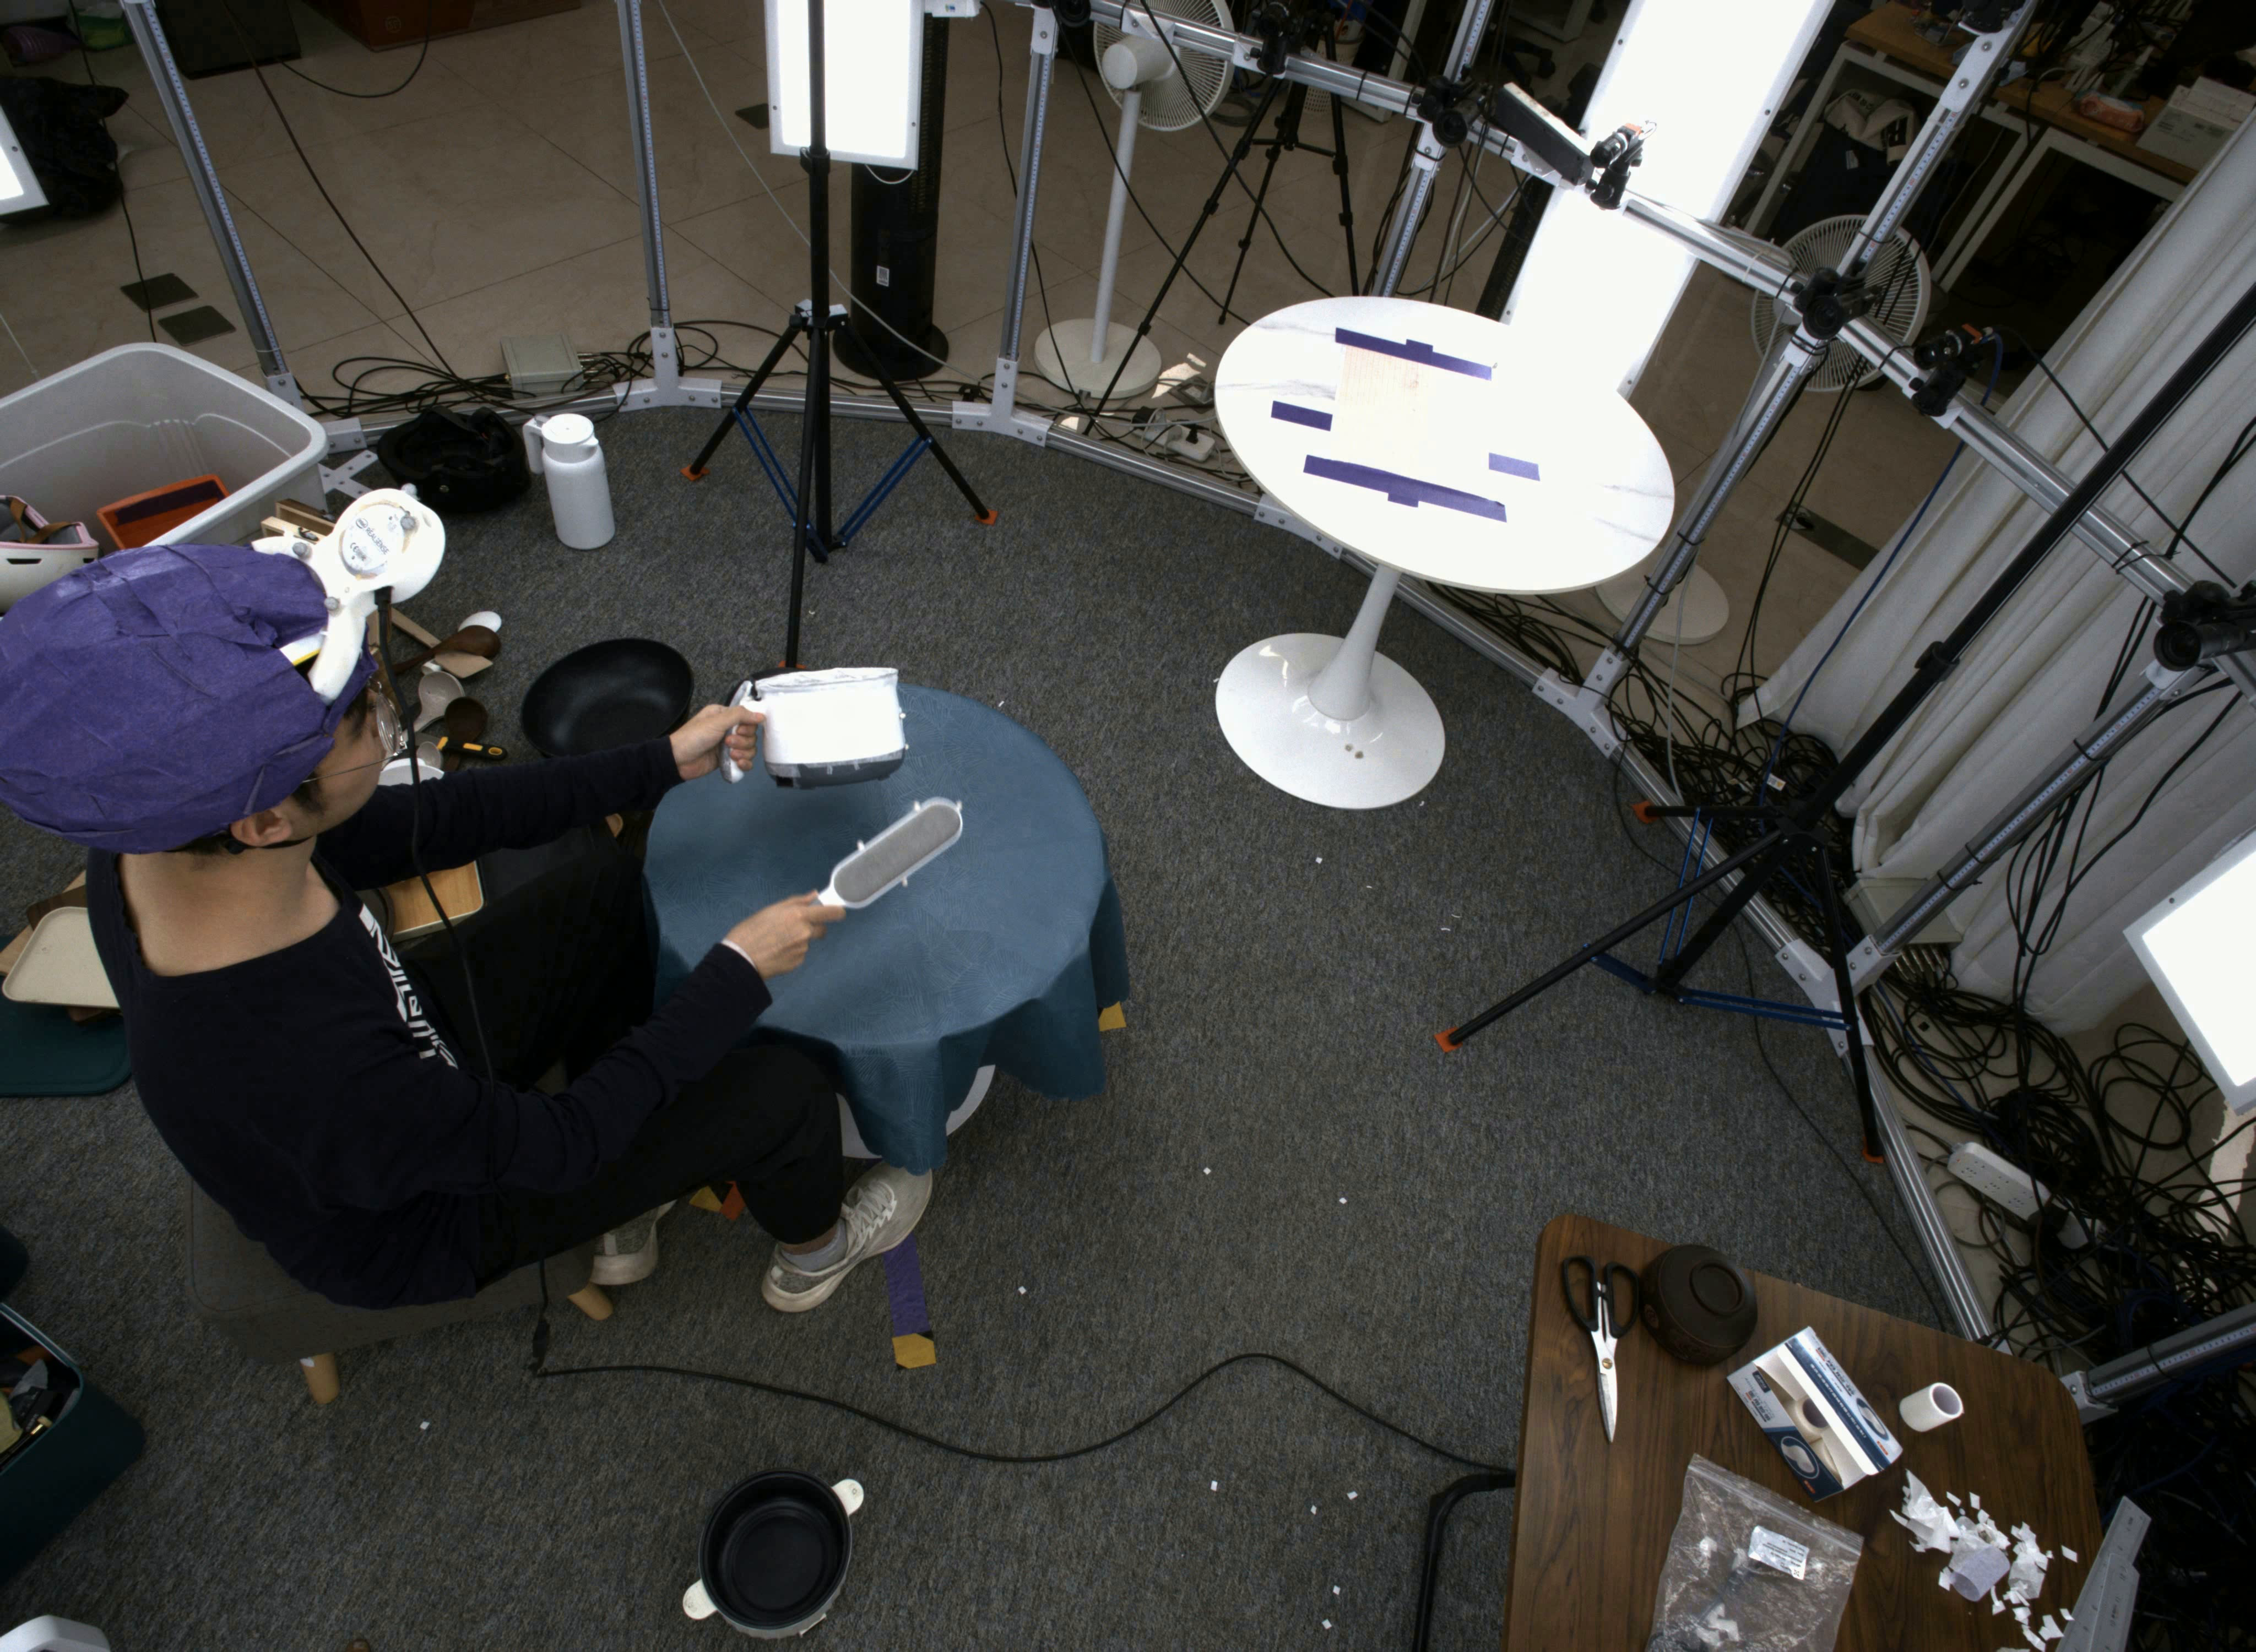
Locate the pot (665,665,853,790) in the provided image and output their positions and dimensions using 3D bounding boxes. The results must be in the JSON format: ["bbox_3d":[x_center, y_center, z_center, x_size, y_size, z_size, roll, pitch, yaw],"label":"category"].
[{"bbox_3d":[-0.462,-0.120,1.606,0.235,0.173,0.140,-12,101,-27],"label":"pot"}]

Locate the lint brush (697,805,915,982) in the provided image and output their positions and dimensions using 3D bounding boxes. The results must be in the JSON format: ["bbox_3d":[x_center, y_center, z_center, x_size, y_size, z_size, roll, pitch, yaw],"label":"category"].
[{"bbox_3d":[-0.372,0.075,1.506,0.309,0.020,0.061,-40,102,-23],"label":"lint brush"}]
